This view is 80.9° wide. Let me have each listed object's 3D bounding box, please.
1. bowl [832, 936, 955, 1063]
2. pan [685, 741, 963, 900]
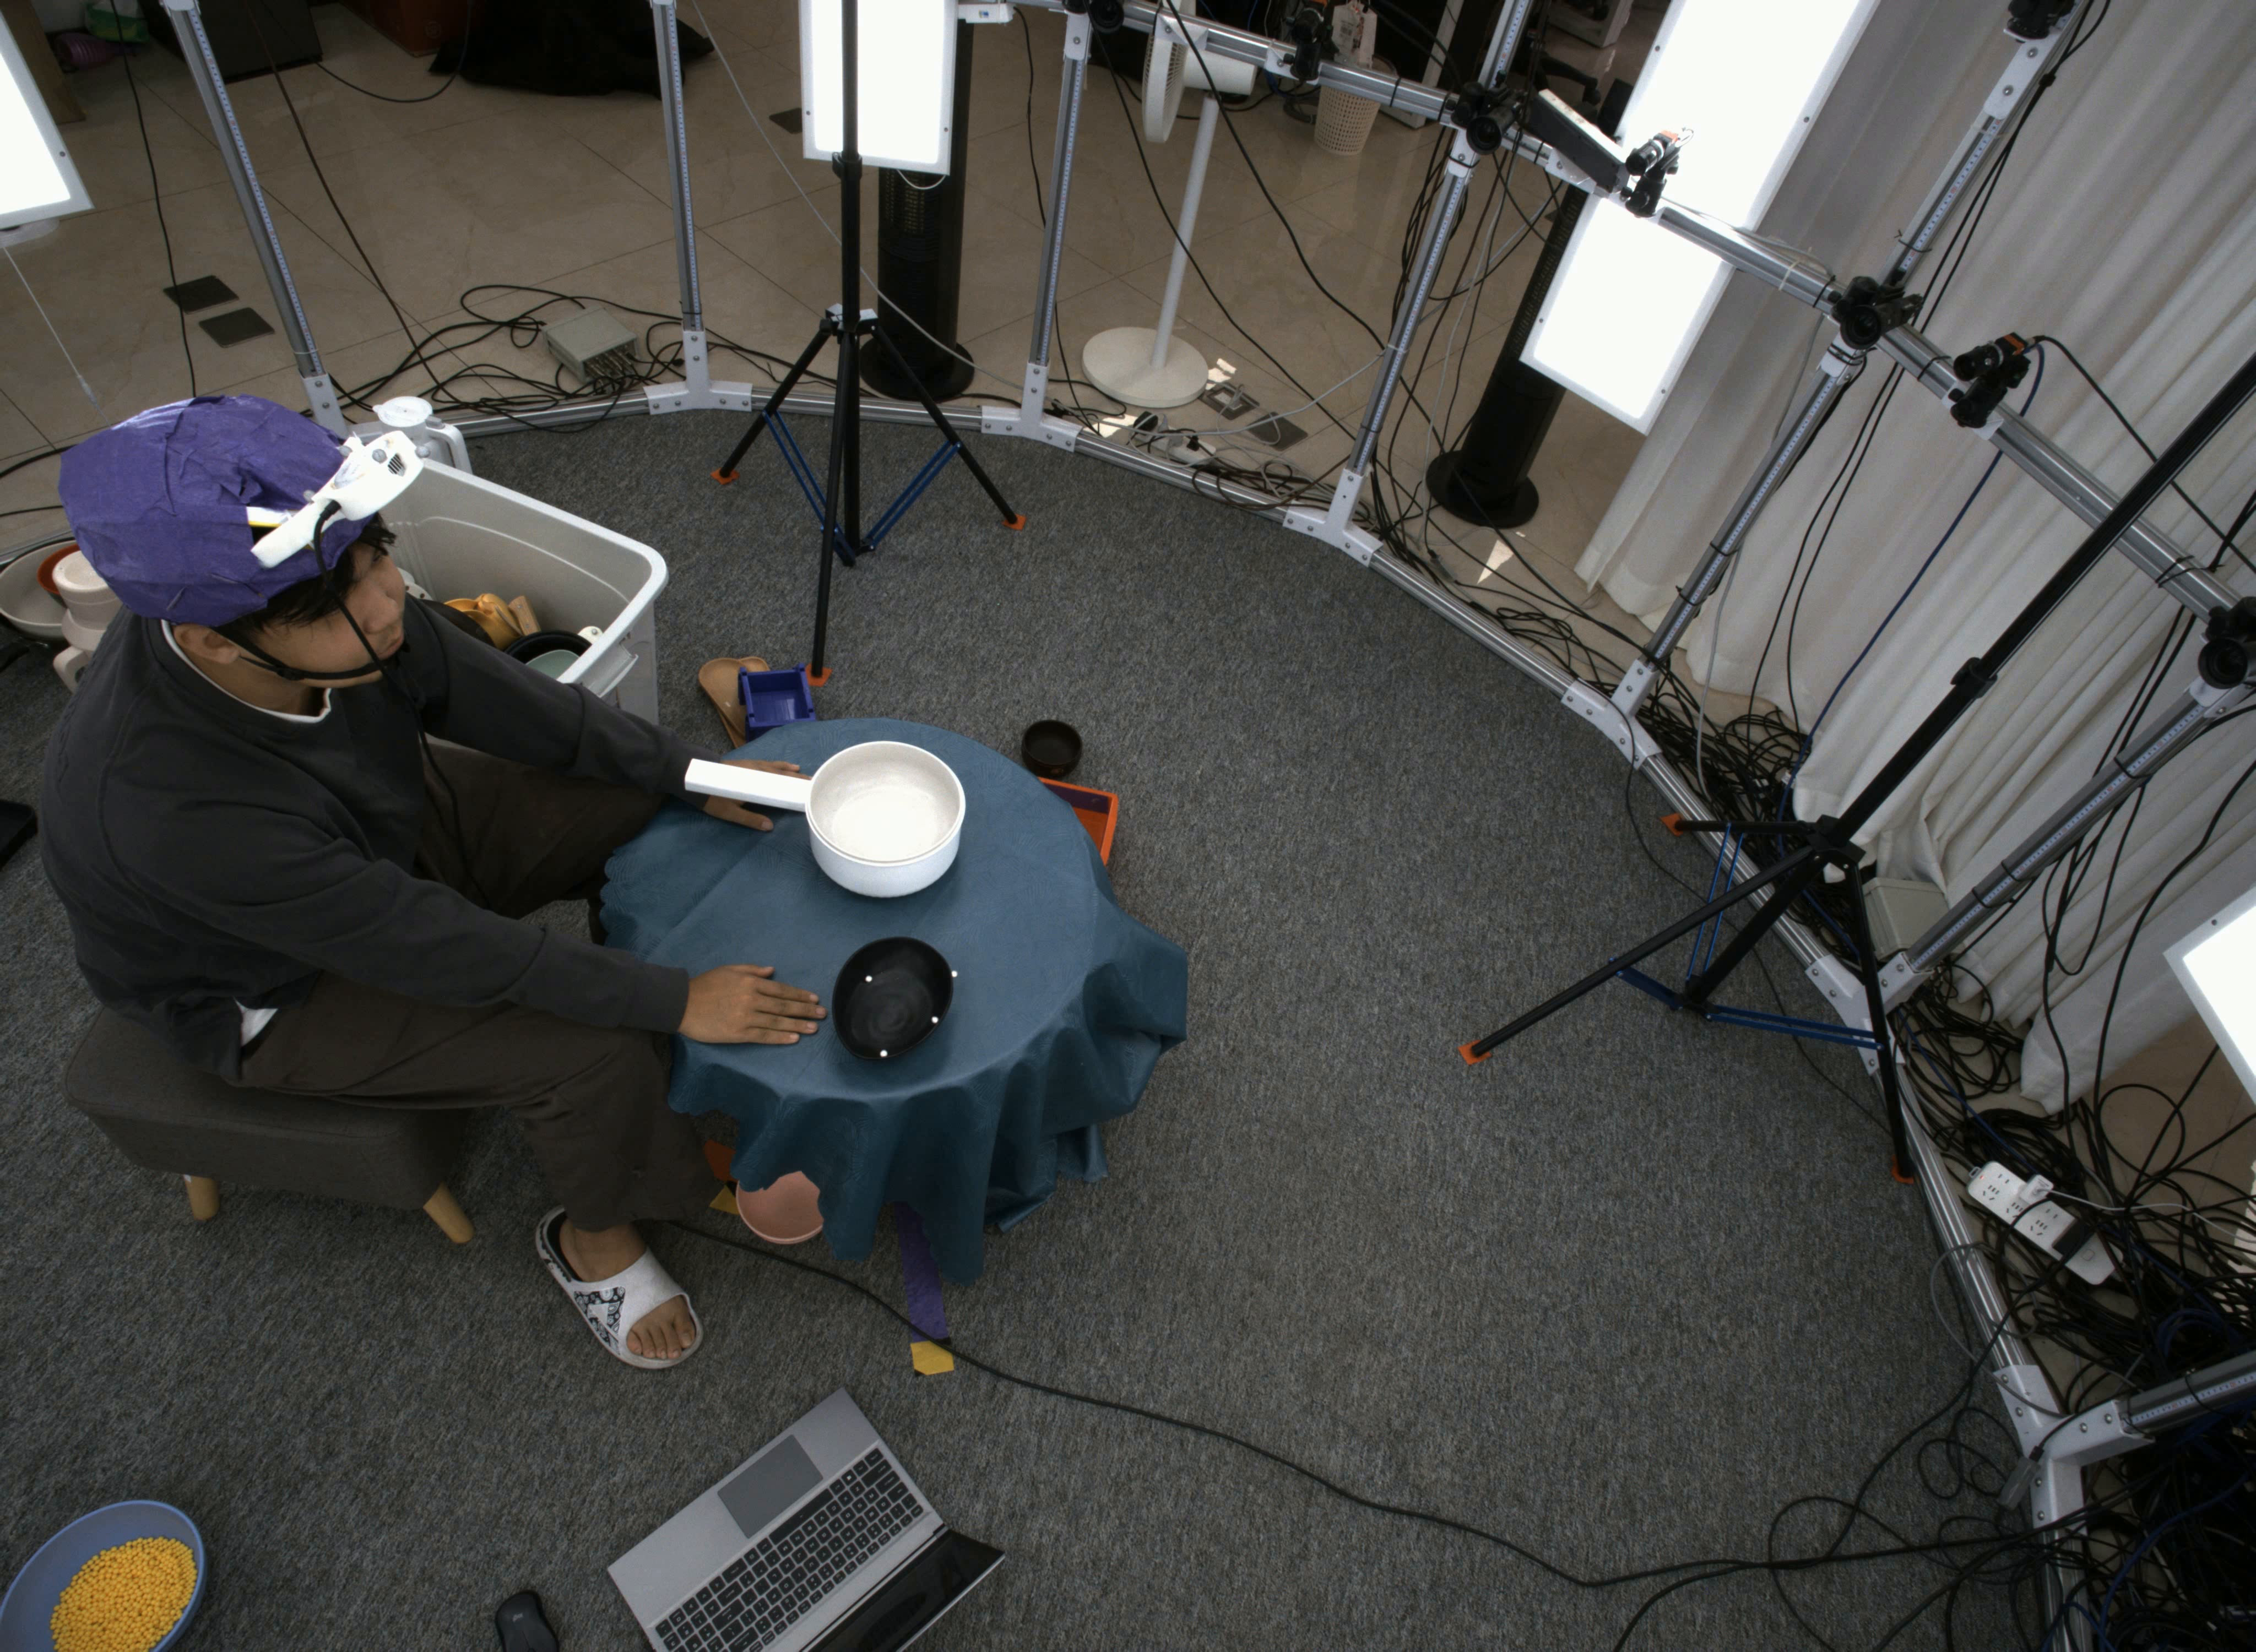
[{"bbox_3d":[-0.280,0.214,1.554,0.136,0.068,0.168,20,53,2],"label":"bowl"},{"bbox_3d":[-0.390,-0.015,1.682,0.353,0.104,0.198,9,54,-5],"label":"pan"}]
